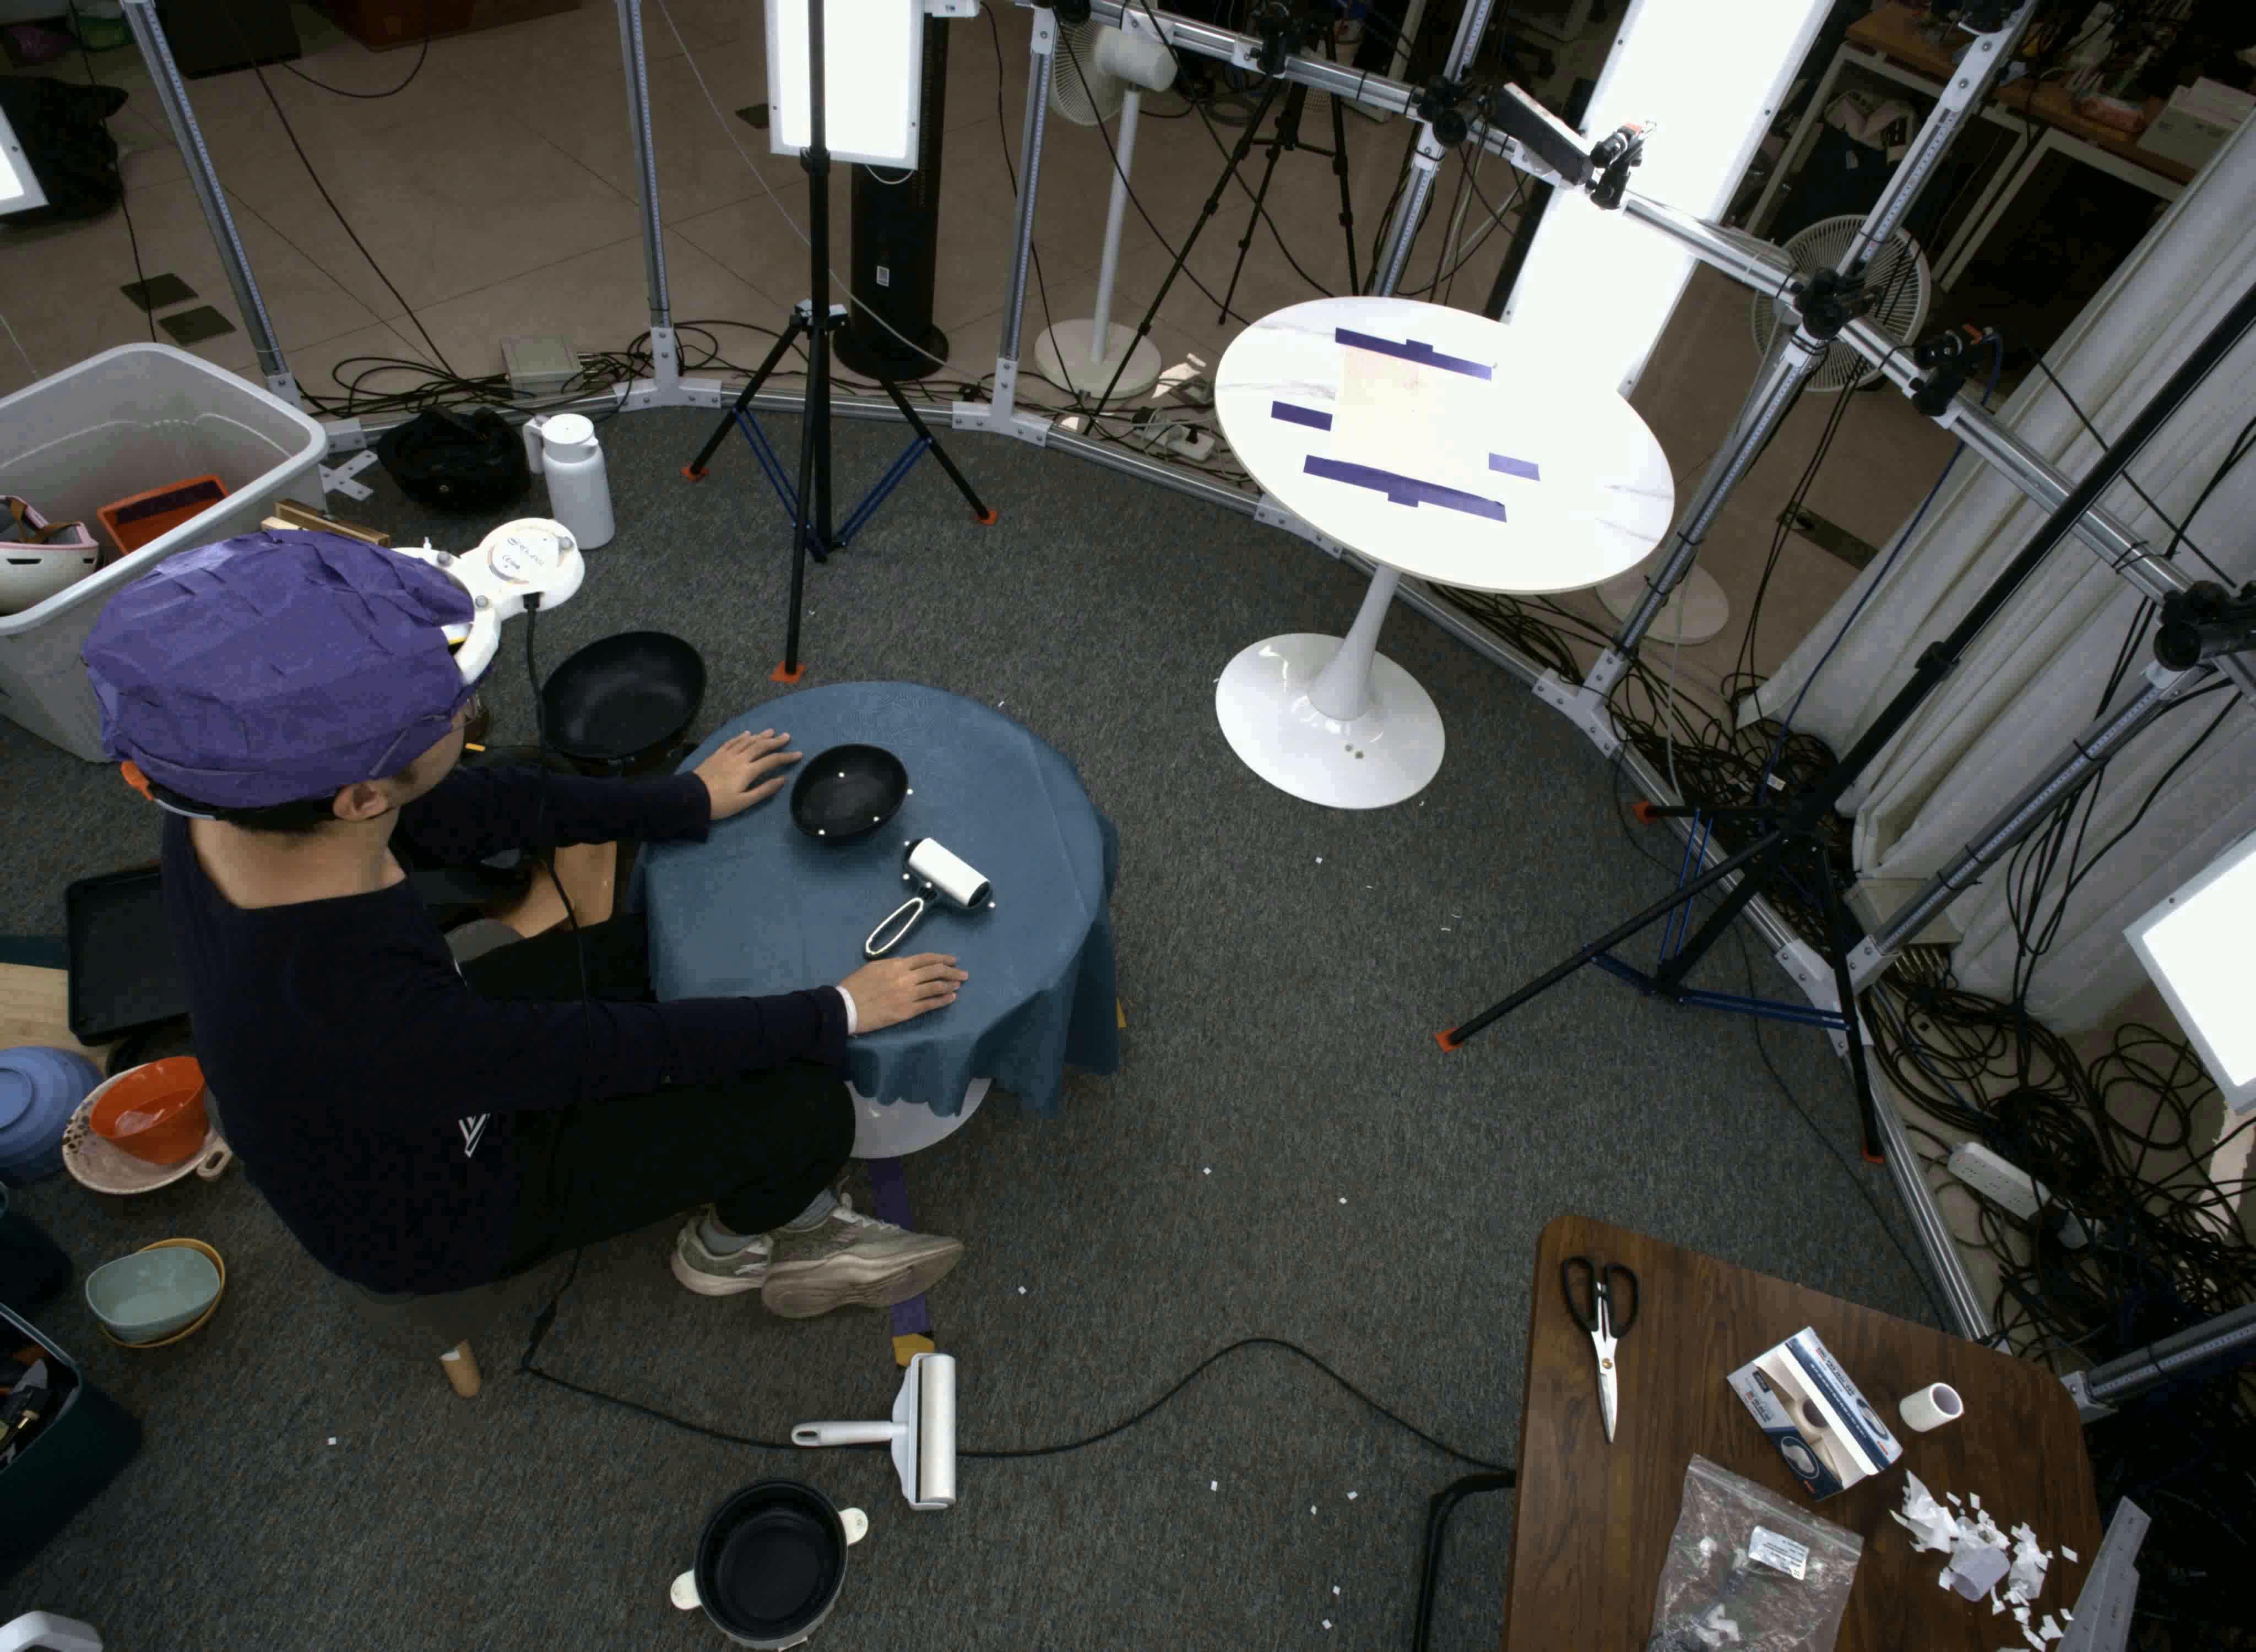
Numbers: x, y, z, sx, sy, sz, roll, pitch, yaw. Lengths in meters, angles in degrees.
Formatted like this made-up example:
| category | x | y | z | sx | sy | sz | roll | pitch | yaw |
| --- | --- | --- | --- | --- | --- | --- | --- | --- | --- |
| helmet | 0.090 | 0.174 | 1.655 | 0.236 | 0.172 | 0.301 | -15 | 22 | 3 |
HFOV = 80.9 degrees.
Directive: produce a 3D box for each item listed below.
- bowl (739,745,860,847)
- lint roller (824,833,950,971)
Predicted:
| category | x | y | z | sx | sy | sz | roll | pitch | yaw |
| --- | --- | --- | --- | --- | --- | --- | --- | --- | --- |
| bowl | -0.431 | -0.028 | 1.712 | 0.135 | 0.068 | 0.170 | 35 | 56 | 13 |
| lint roller | -0.327 | 0.106 | 1.658 | 0.132 | 0.049 | 0.180 | 33 | 59 | 10 |
